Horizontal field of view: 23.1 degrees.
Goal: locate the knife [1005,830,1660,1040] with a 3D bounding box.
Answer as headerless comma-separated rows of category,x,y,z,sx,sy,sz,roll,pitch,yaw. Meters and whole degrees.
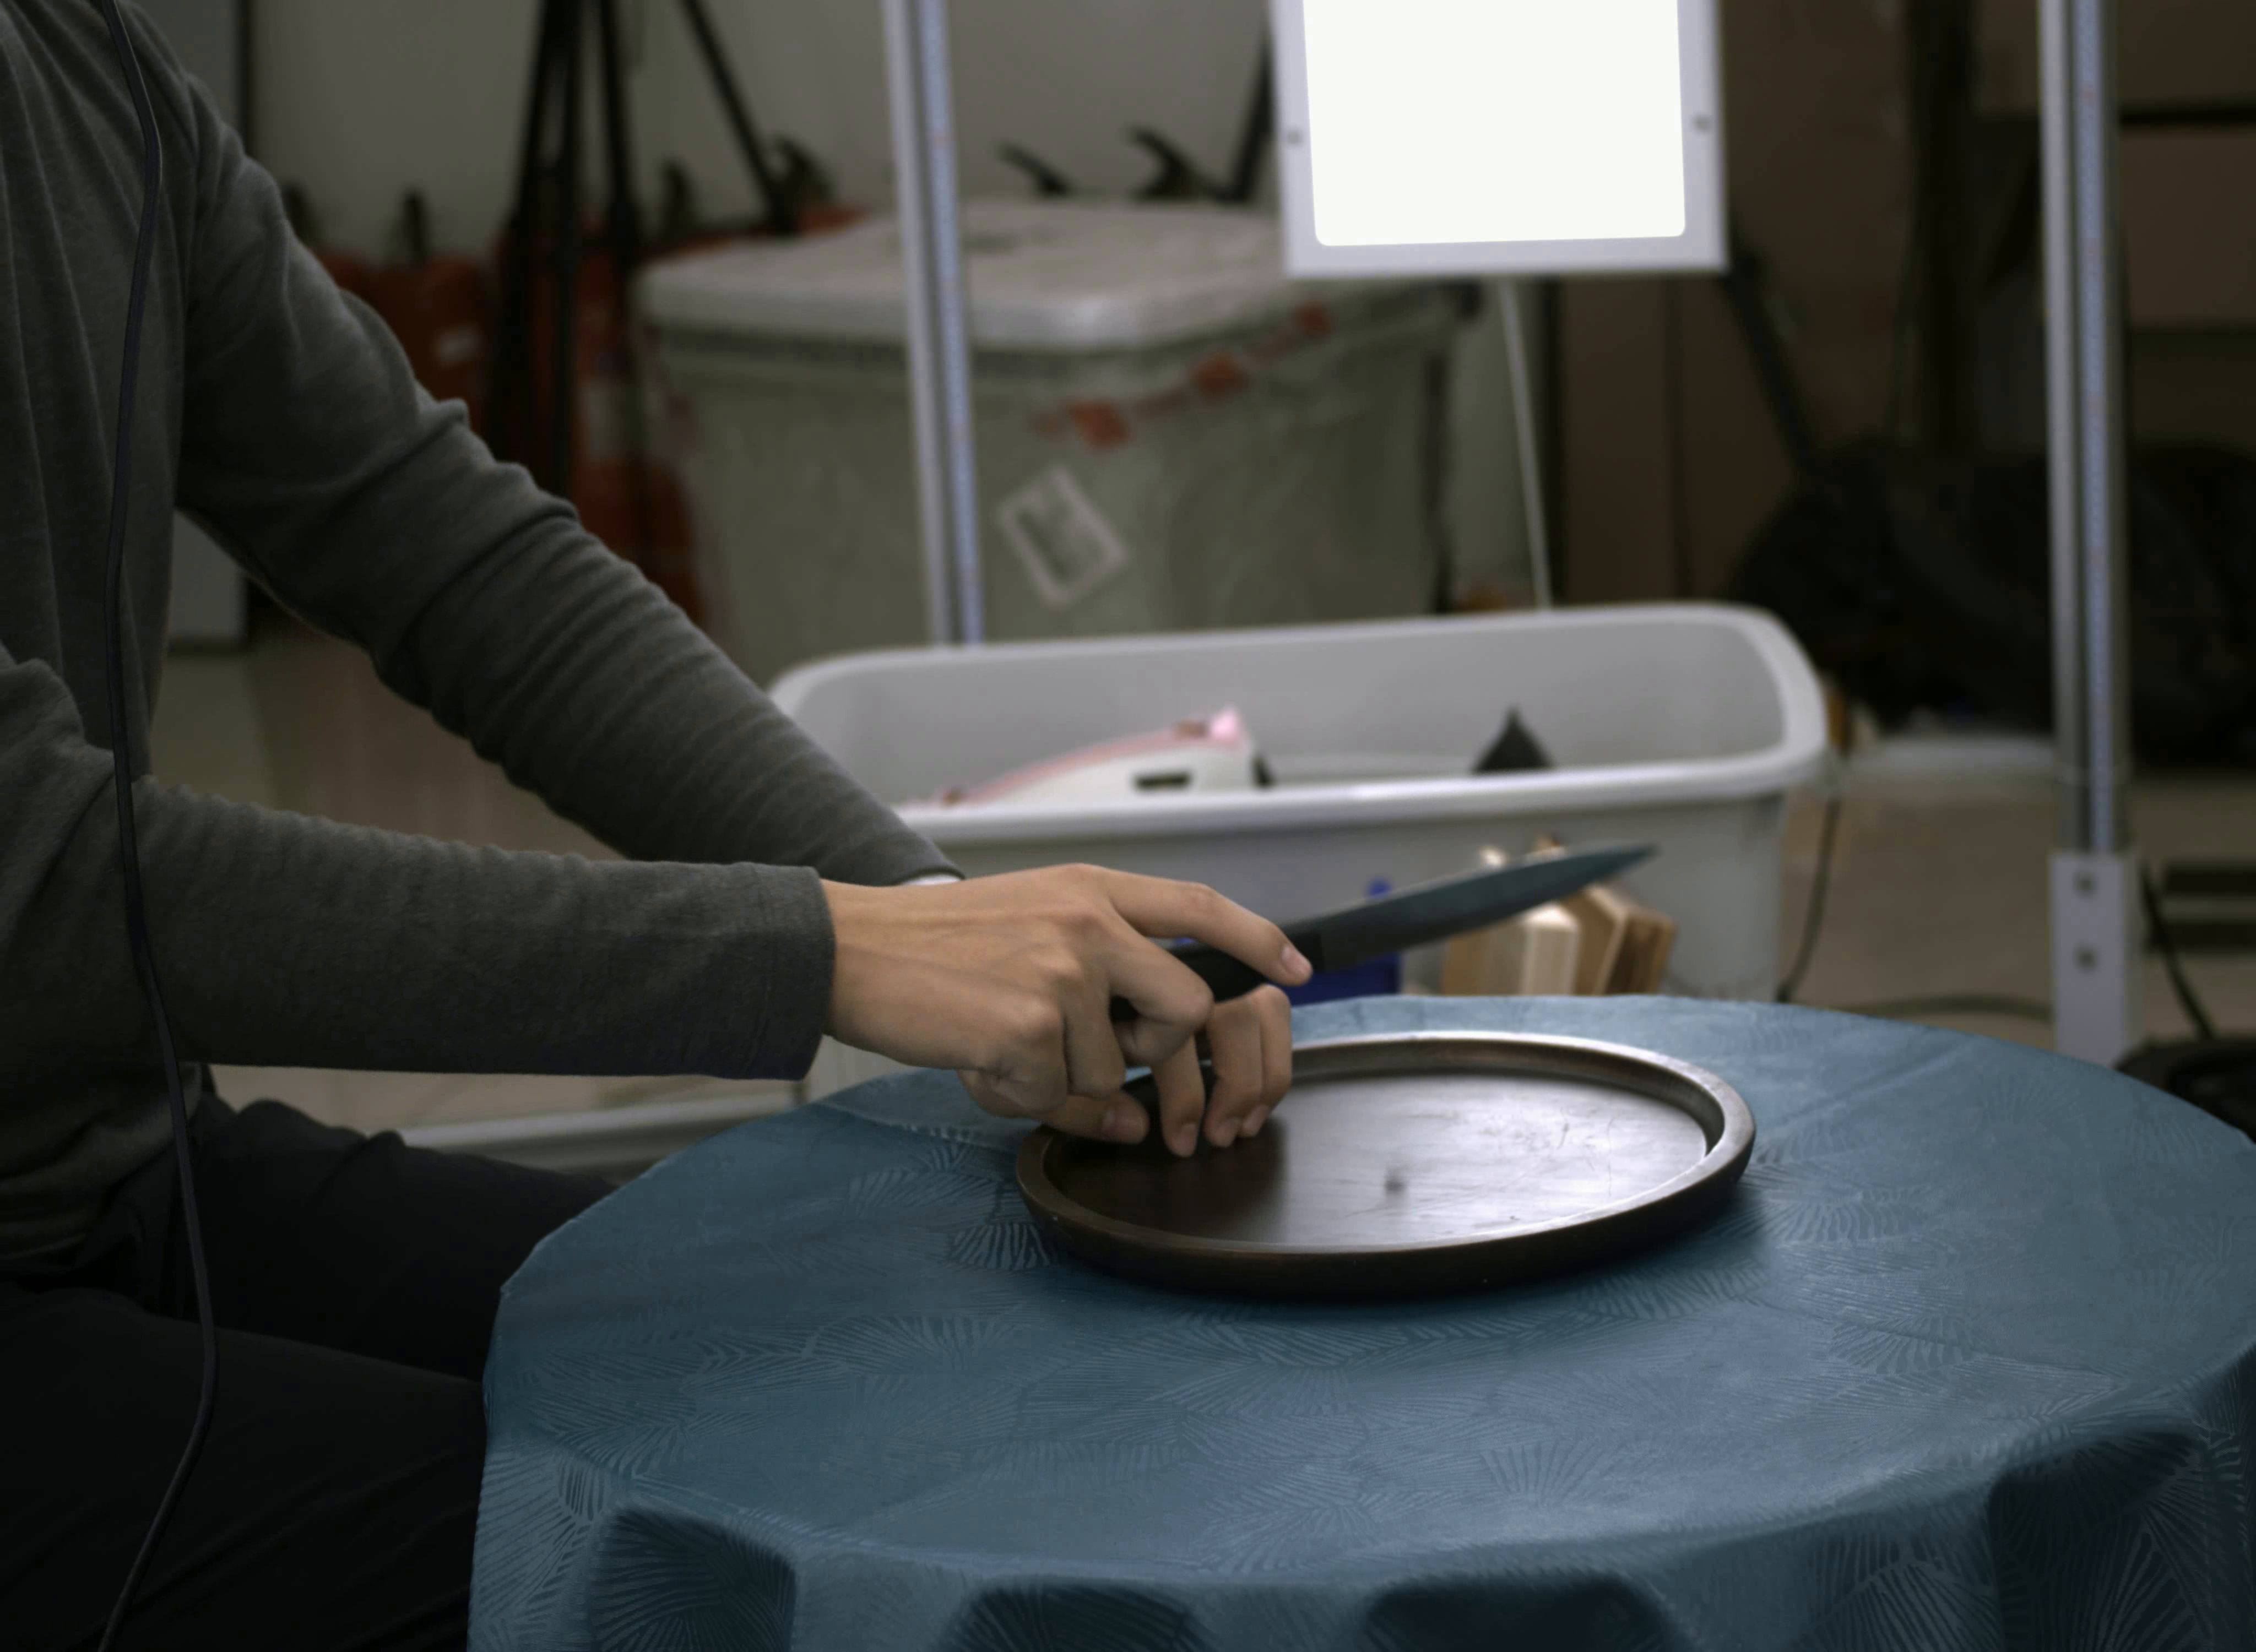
knife,0.070,0.031,1.860,0.236,0.024,0.016,-16,18,-9

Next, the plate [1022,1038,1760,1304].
plate,0.089,0.115,1.871,0.254,0.029,0.254,-4,13,0
